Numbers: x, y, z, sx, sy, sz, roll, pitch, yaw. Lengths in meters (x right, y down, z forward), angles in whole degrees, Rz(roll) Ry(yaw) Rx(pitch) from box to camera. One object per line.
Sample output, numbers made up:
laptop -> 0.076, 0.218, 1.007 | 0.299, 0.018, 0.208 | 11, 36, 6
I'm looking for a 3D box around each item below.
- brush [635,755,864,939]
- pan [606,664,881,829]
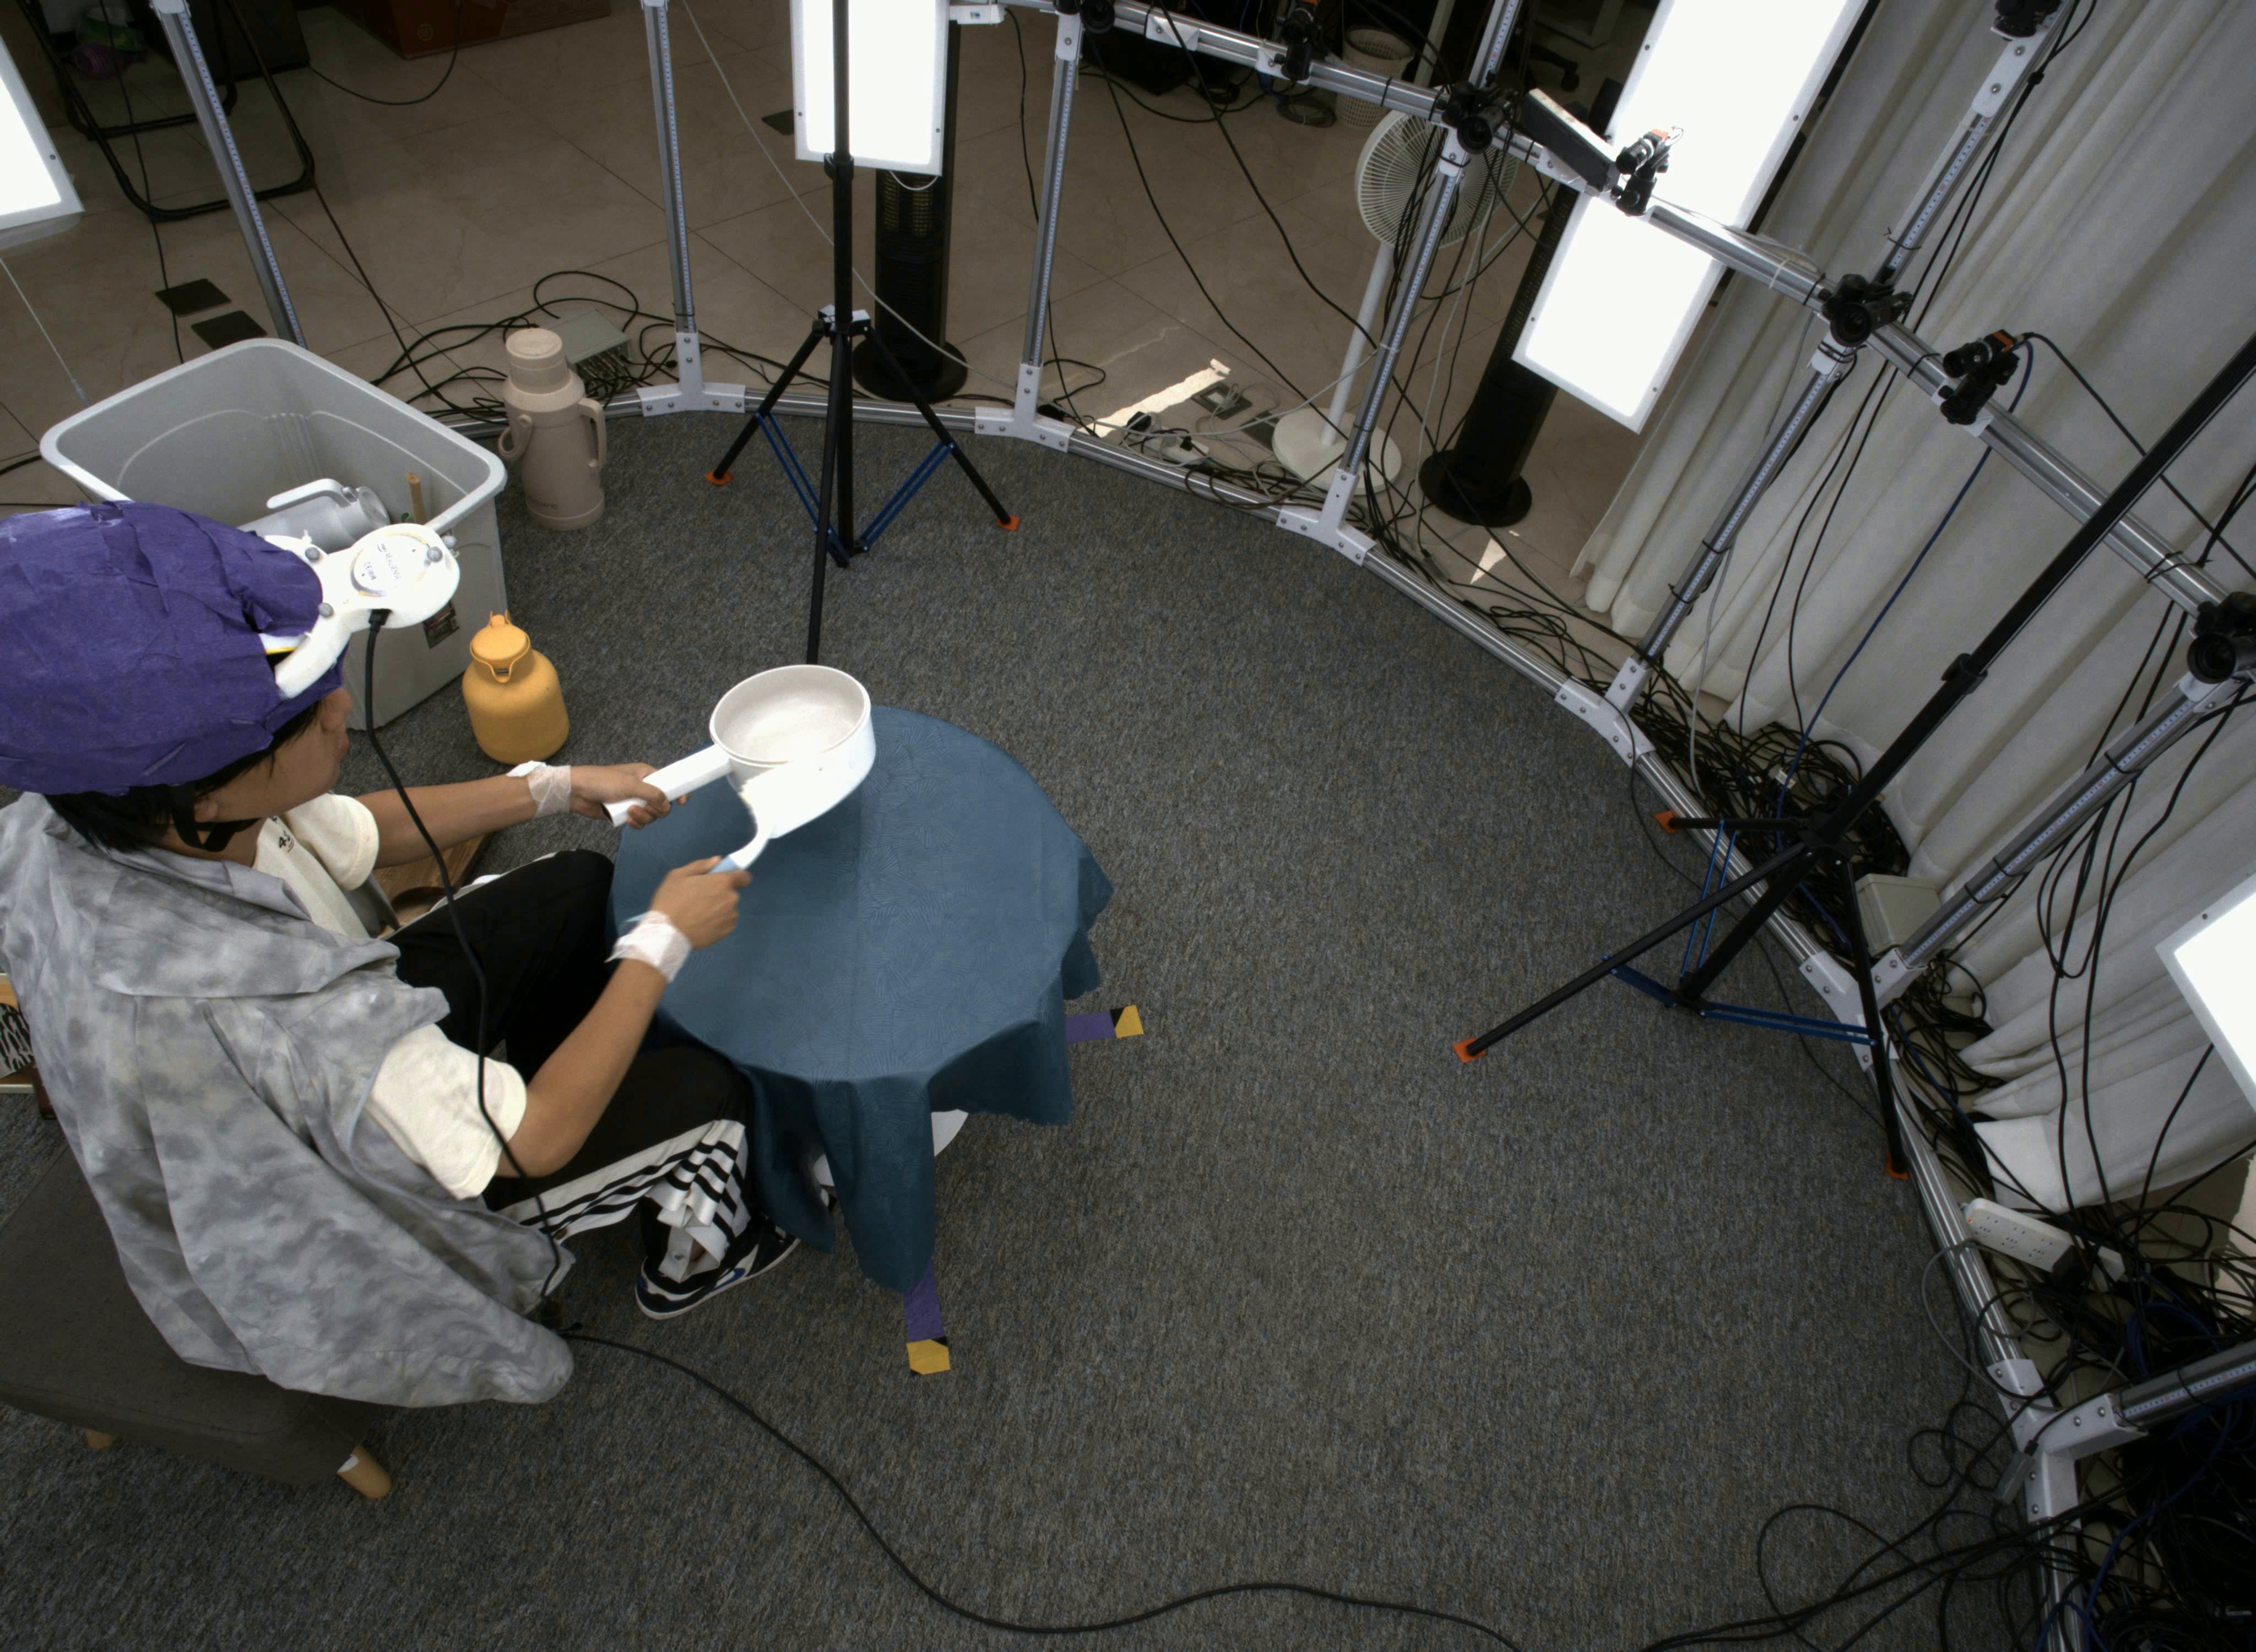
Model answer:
brush -> -0.452, 0.011, 1.504 | 0.326, 0.082, 0.085 | -39, 105, -28
pan -> -0.475, -0.071, 1.616 | 0.356, 0.105, 0.194 | -32, 52, -28
